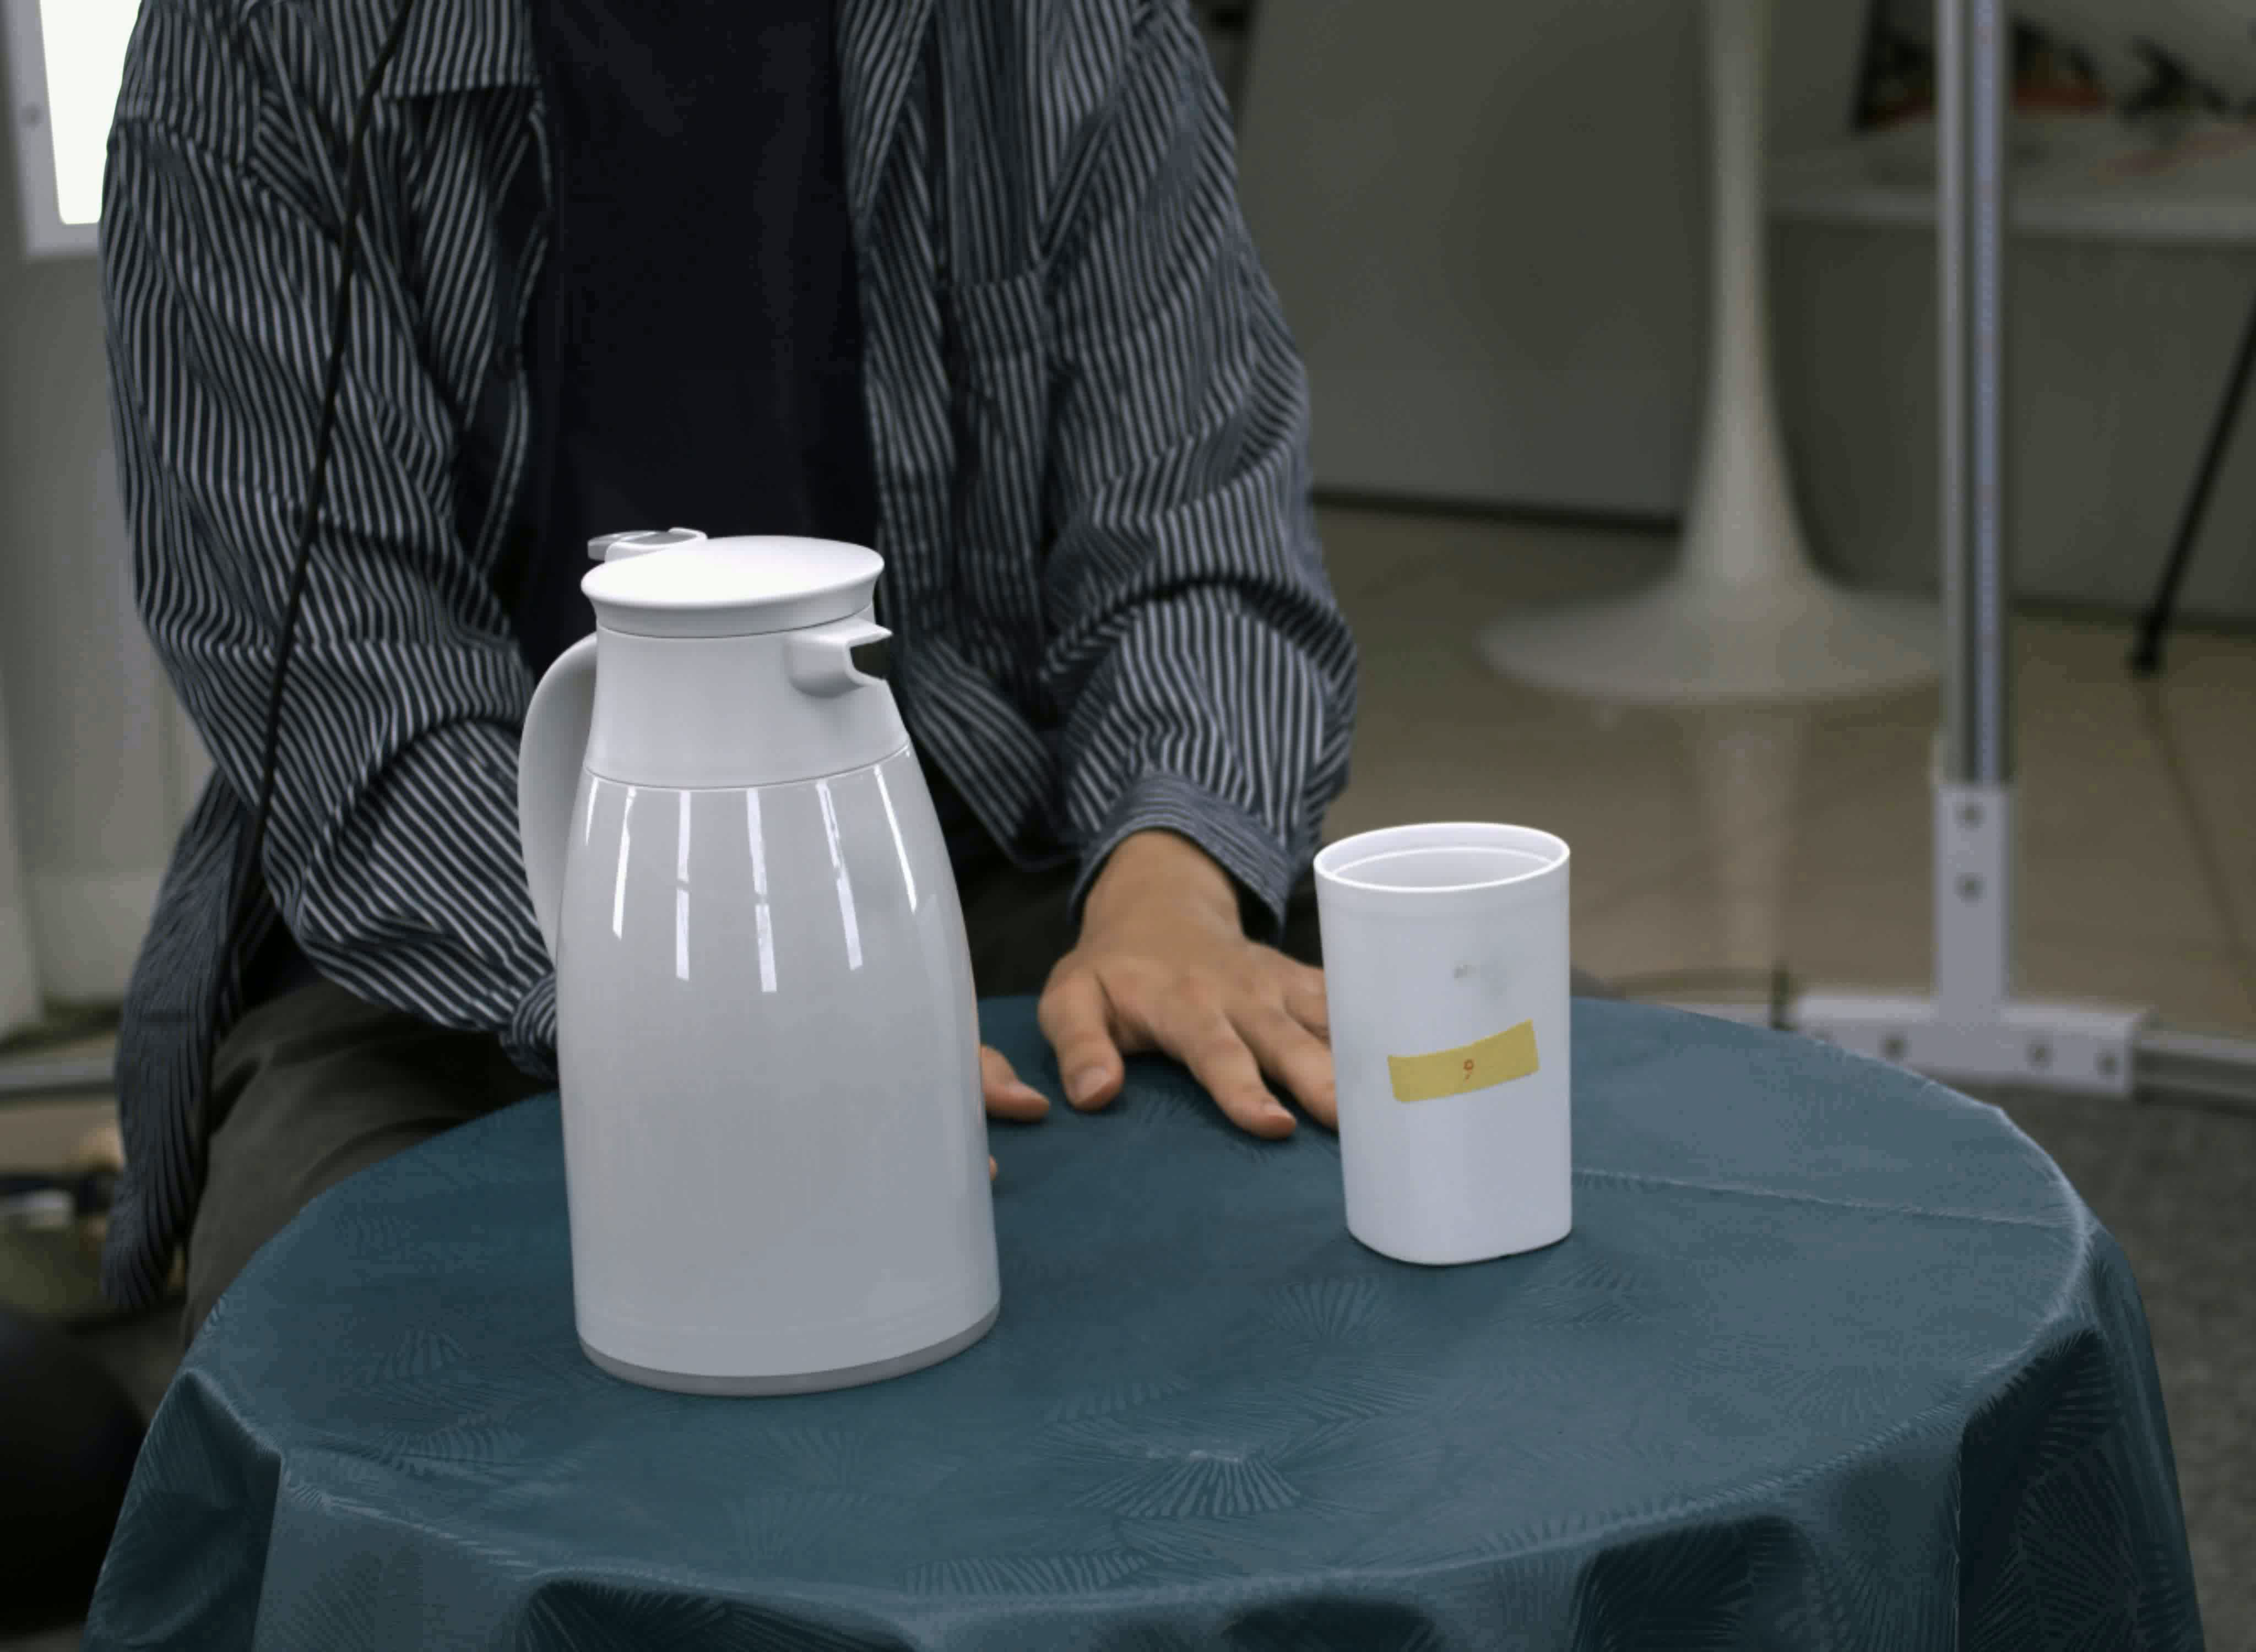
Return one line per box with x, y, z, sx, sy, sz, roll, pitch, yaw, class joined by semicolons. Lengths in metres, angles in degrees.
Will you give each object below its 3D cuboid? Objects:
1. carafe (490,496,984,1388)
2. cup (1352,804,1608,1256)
-0.129;0.026;1.647;0.169;0.251;0.130;10;21;39;carafe
0.114;0.064;1.693;0.080;0.127;0.082;-4;13;0;cup
